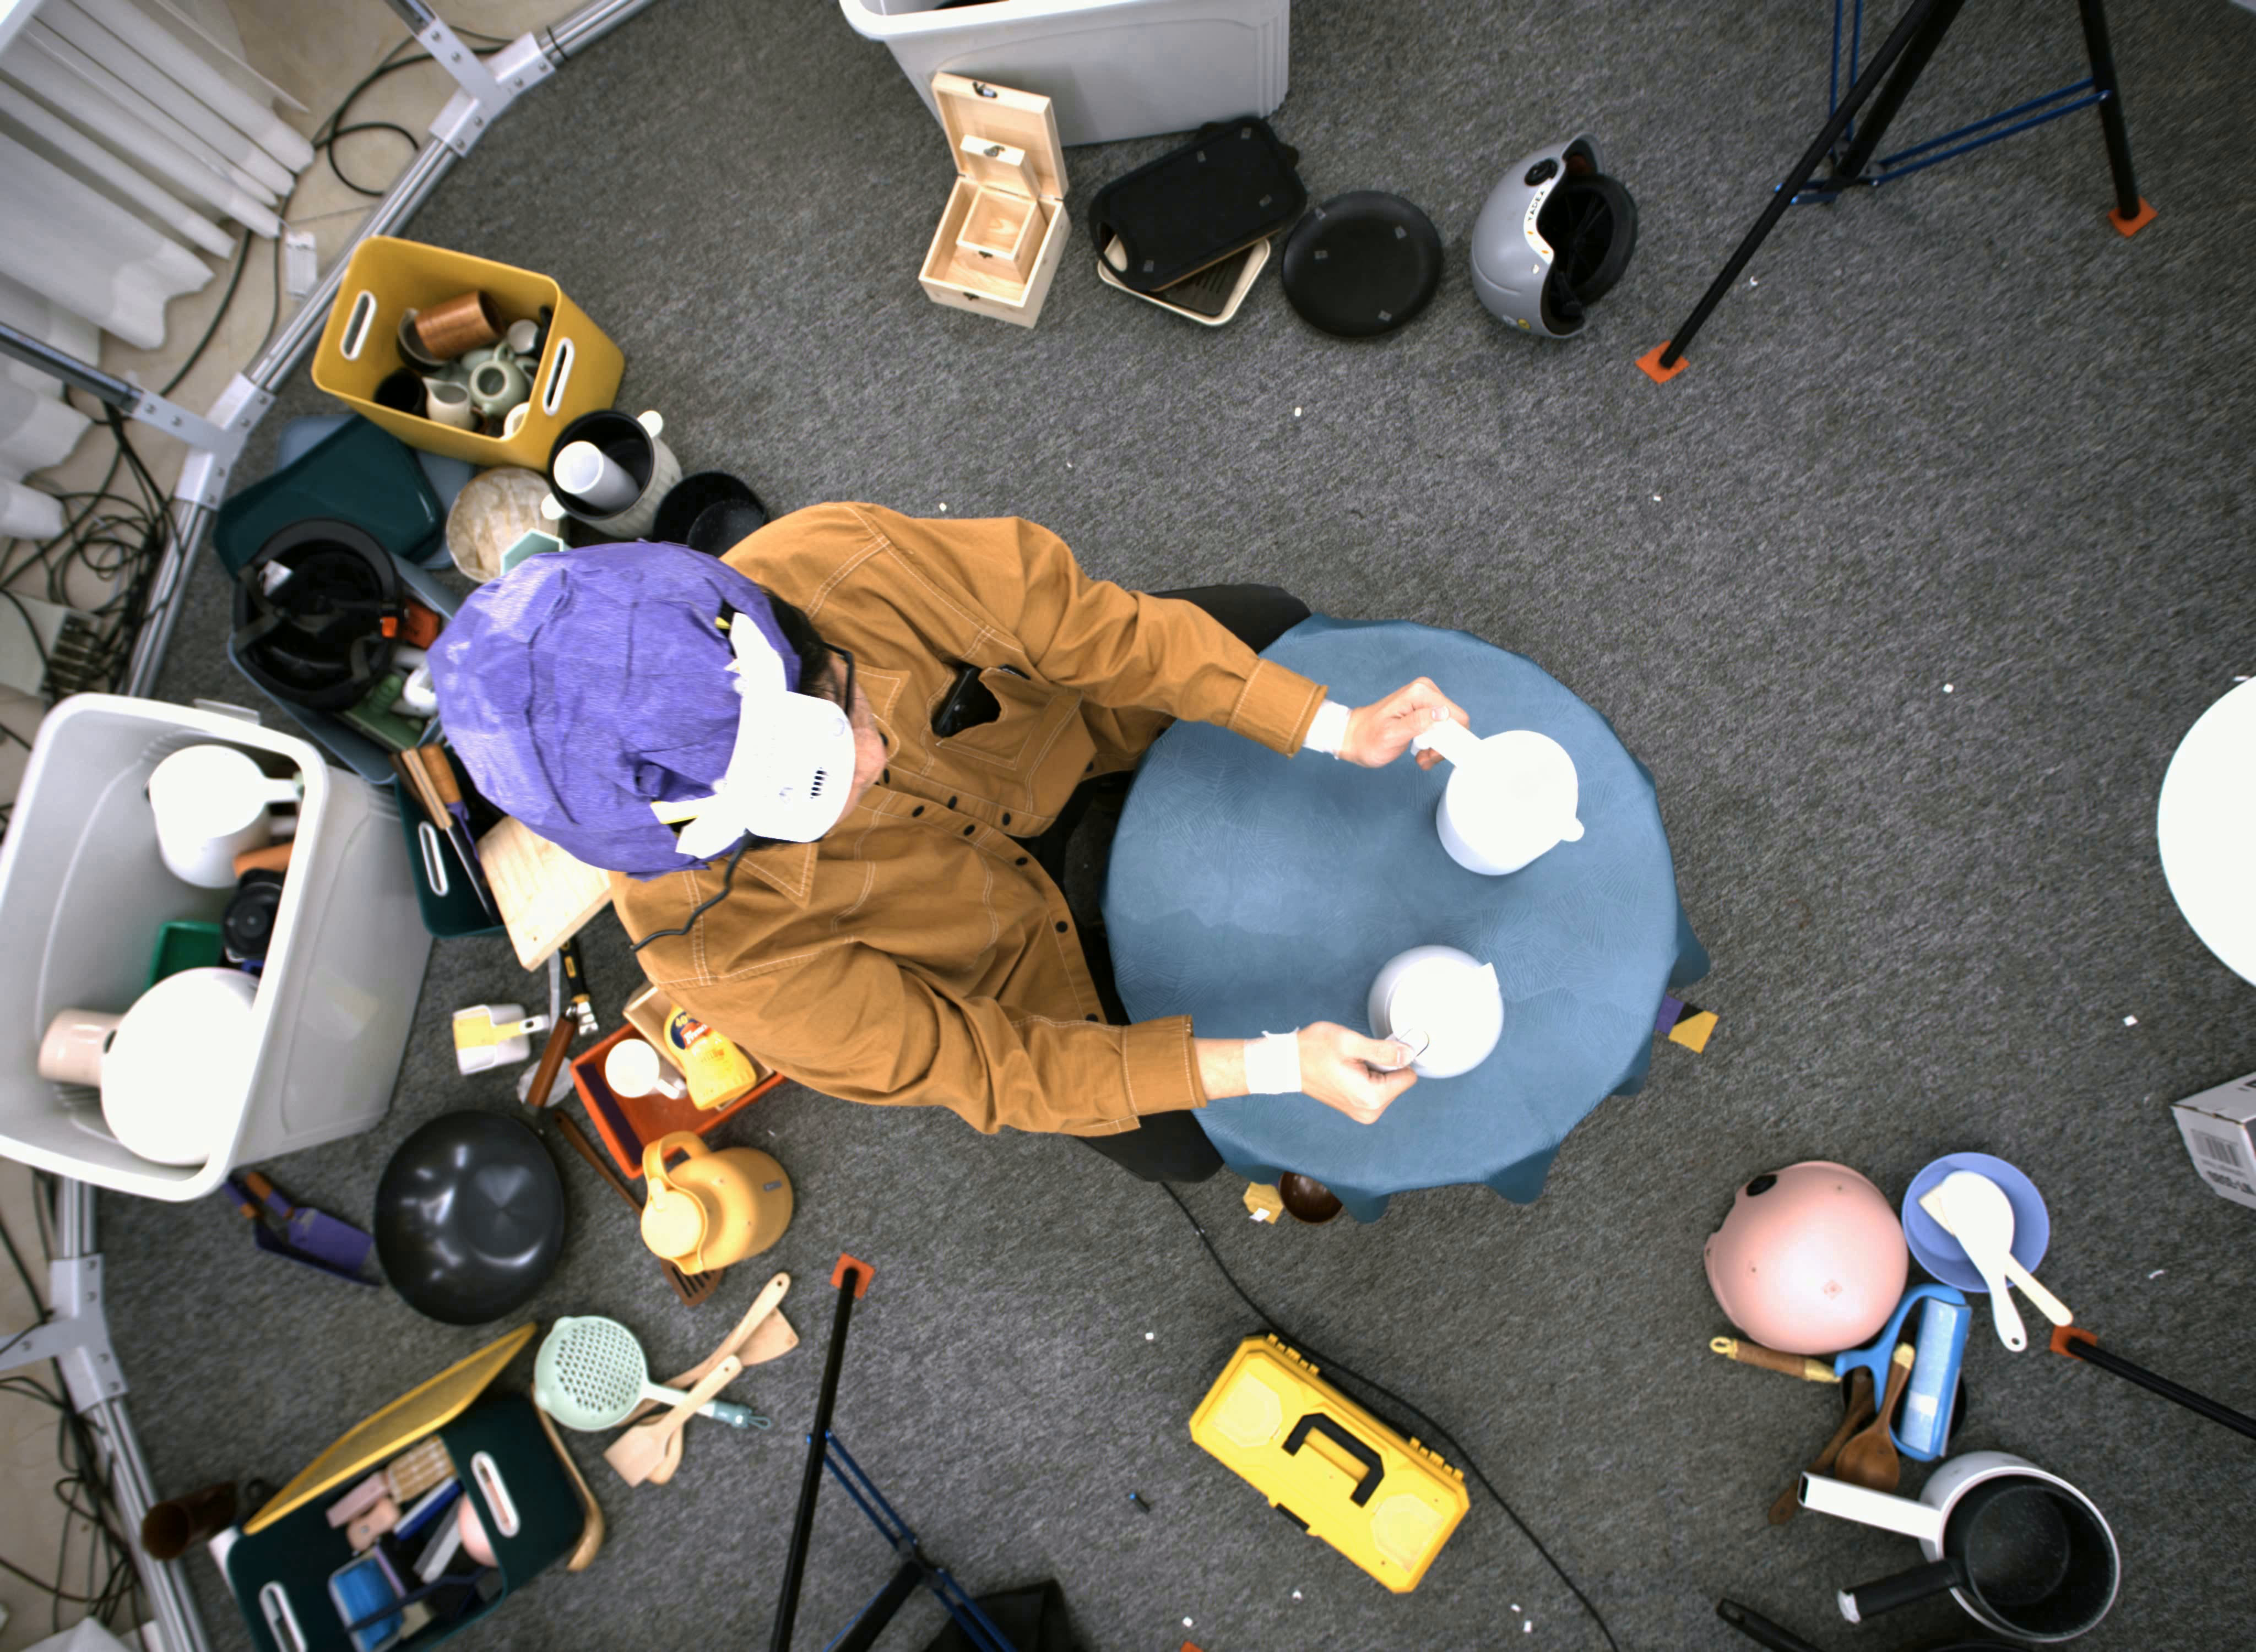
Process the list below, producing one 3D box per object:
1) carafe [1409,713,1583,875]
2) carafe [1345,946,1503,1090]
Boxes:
[{"bbox_3d":[0.345,-0.031,1.316,0.172,0.268,0.124,38,94,11],"label":"carafe"},{"bbox_3d":[0.281,0.191,1.327,0.168,0.249,0.132,-40,79,6],"label":"carafe"}]
